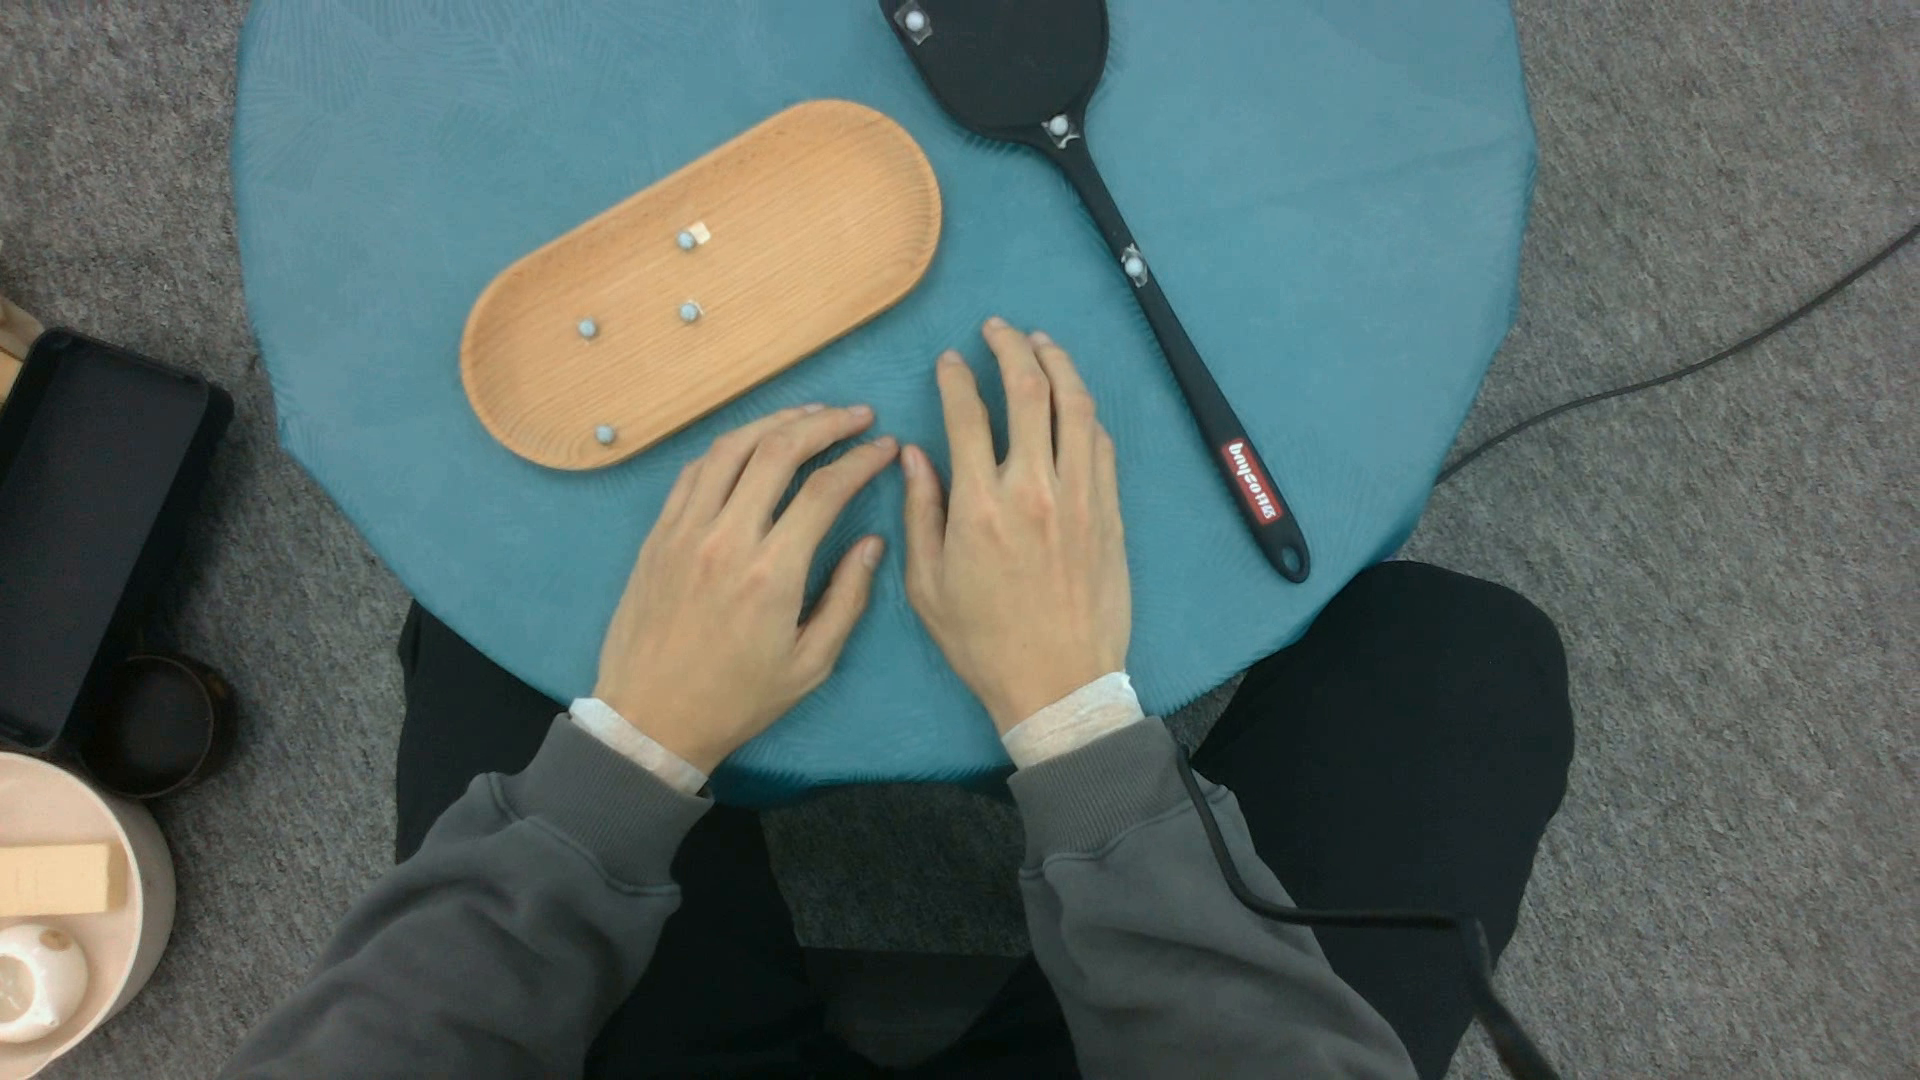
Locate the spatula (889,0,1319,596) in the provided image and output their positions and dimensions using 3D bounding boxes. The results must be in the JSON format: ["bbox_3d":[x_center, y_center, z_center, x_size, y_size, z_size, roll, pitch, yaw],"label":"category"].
[{"bbox_3d":[0.083,-0.118,0.630,0.100,0.040,0.326,-29,85,0],"label":"spatula"}]

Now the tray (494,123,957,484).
[{"bbox_3d":[-0.108,-0.109,0.641,0.231,0.020,0.102,-31,86,-3],"label":"tray"}]
